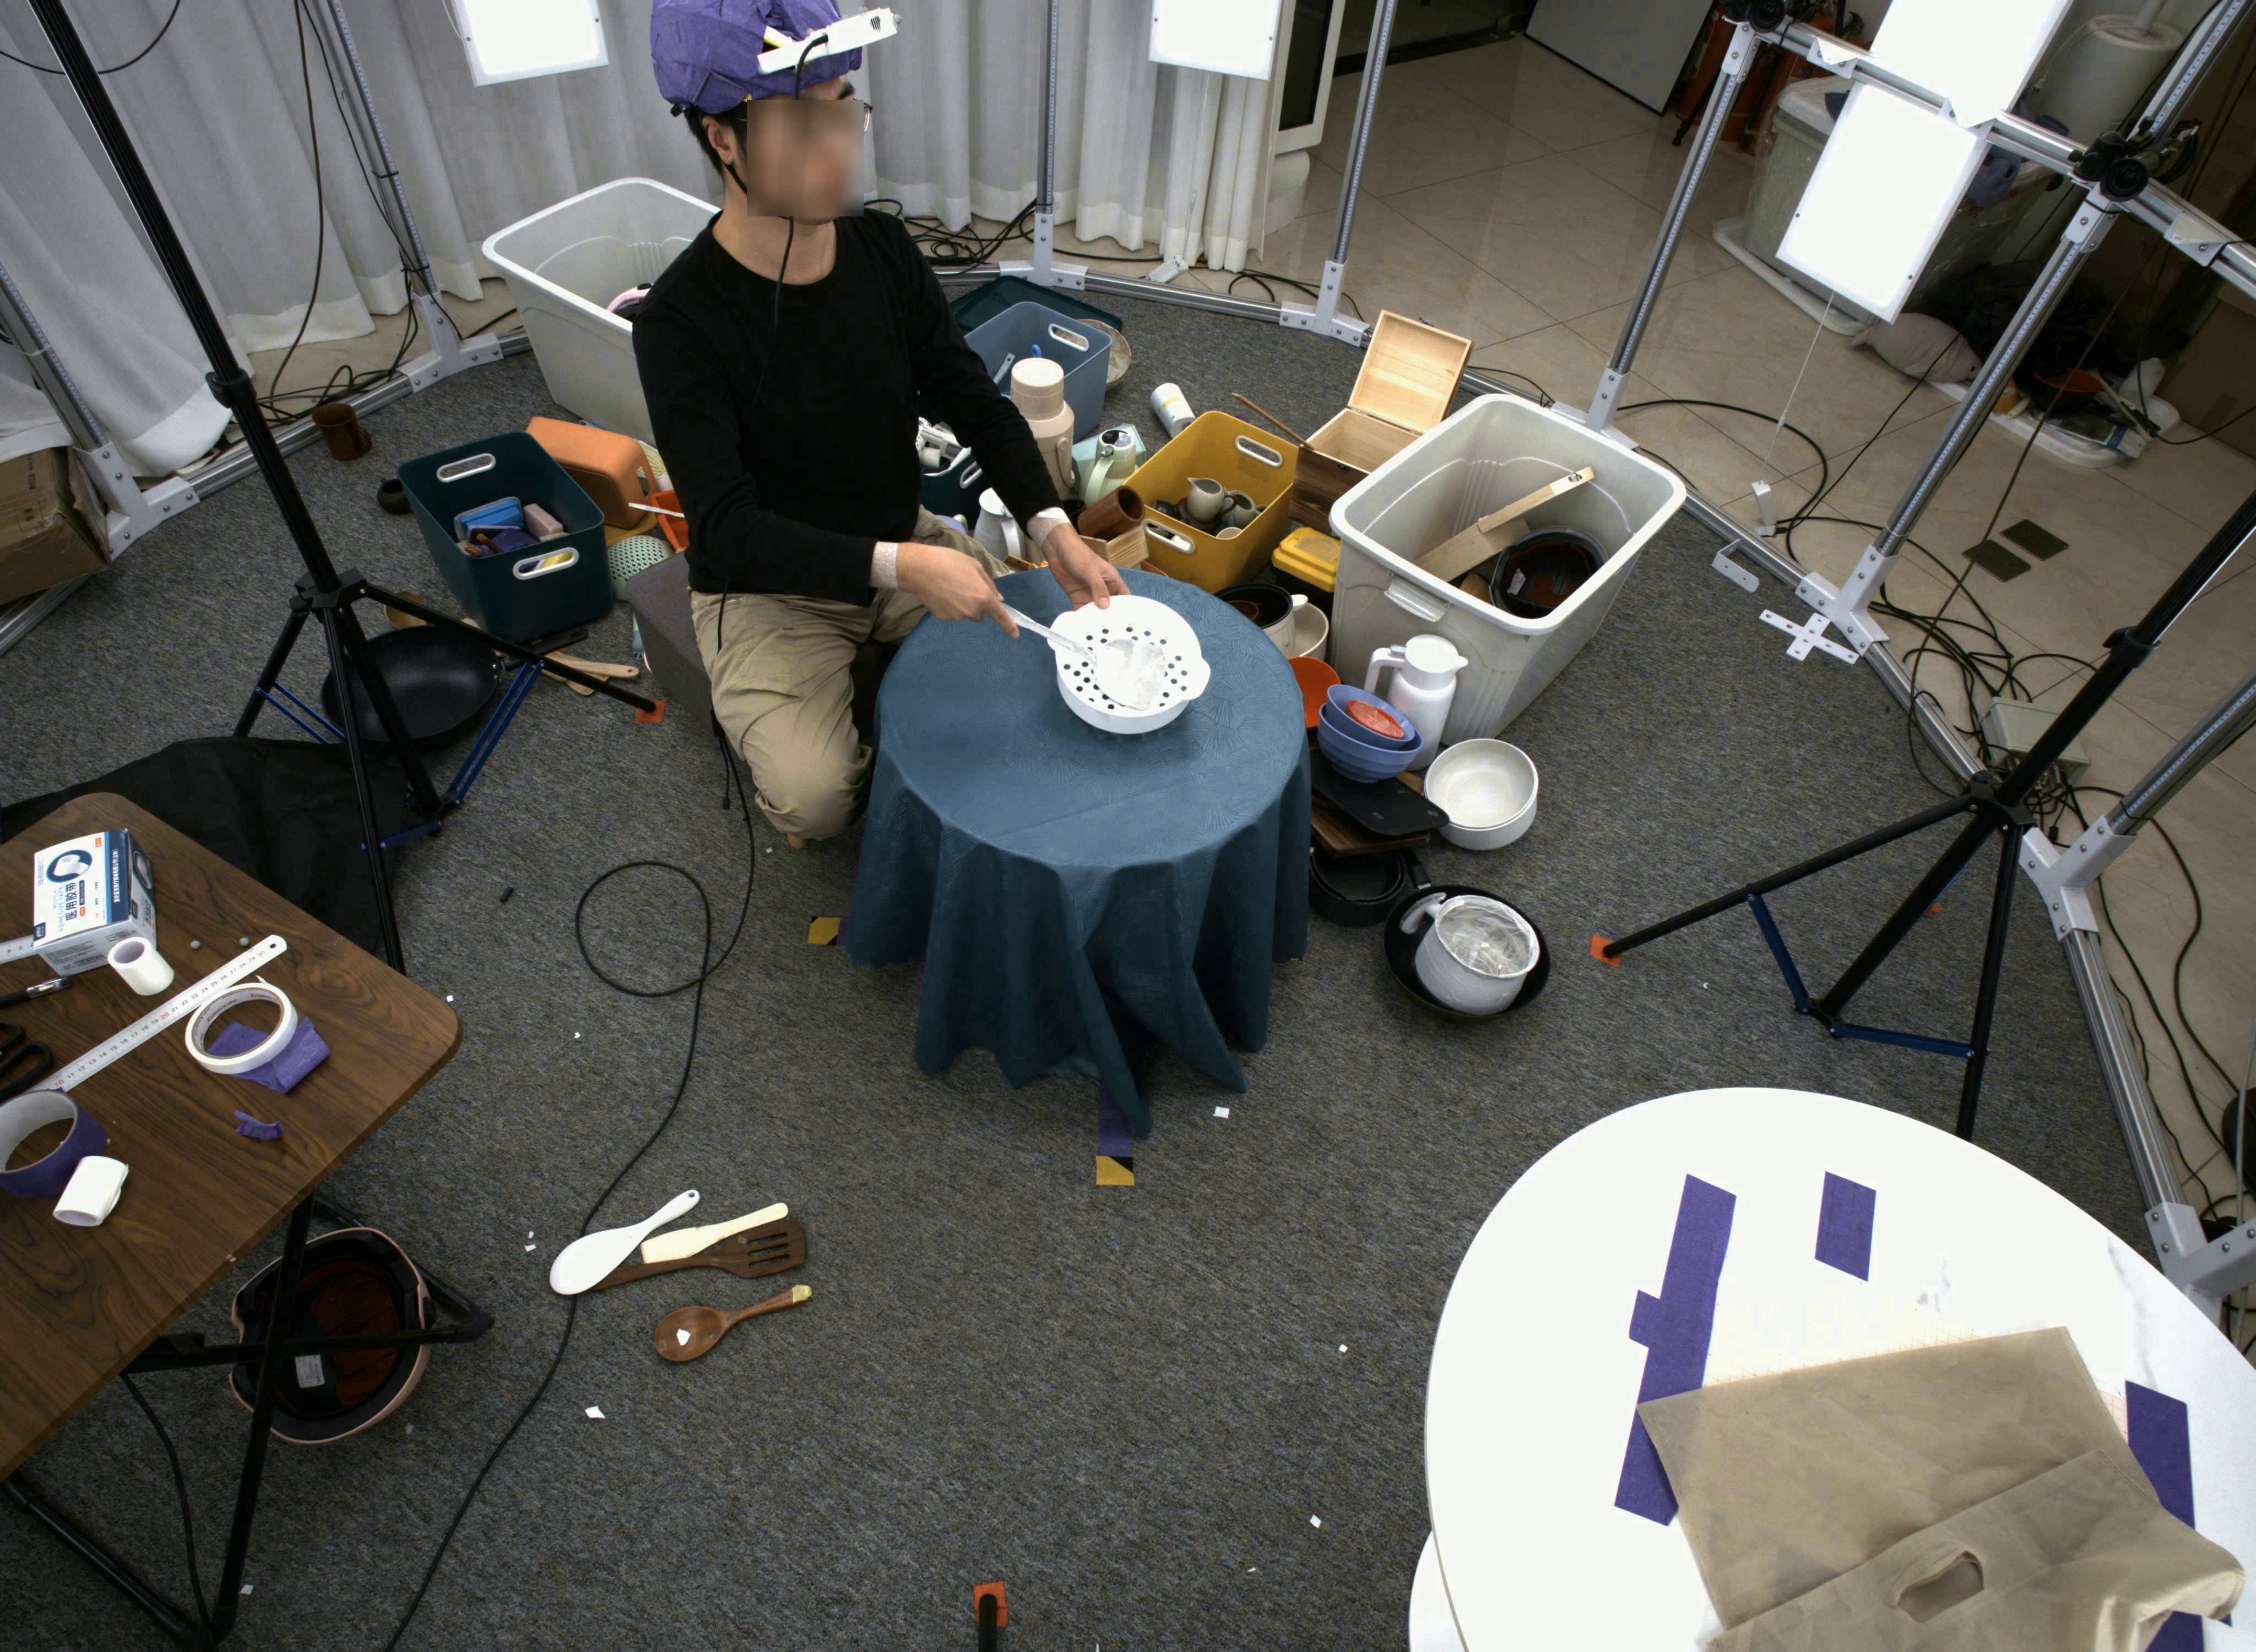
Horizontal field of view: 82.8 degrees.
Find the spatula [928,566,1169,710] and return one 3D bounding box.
[{"bbox_3d":[-0.104,-0.263,1.728,0.360,0.045,0.099,23,79,-29],"label":"spatula"}]

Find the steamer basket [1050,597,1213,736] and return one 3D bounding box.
[{"bbox_3d":[0.002,-0.221,1.787,0.231,0.068,0.205,22,61,8],"label":"steamer basket"}]
